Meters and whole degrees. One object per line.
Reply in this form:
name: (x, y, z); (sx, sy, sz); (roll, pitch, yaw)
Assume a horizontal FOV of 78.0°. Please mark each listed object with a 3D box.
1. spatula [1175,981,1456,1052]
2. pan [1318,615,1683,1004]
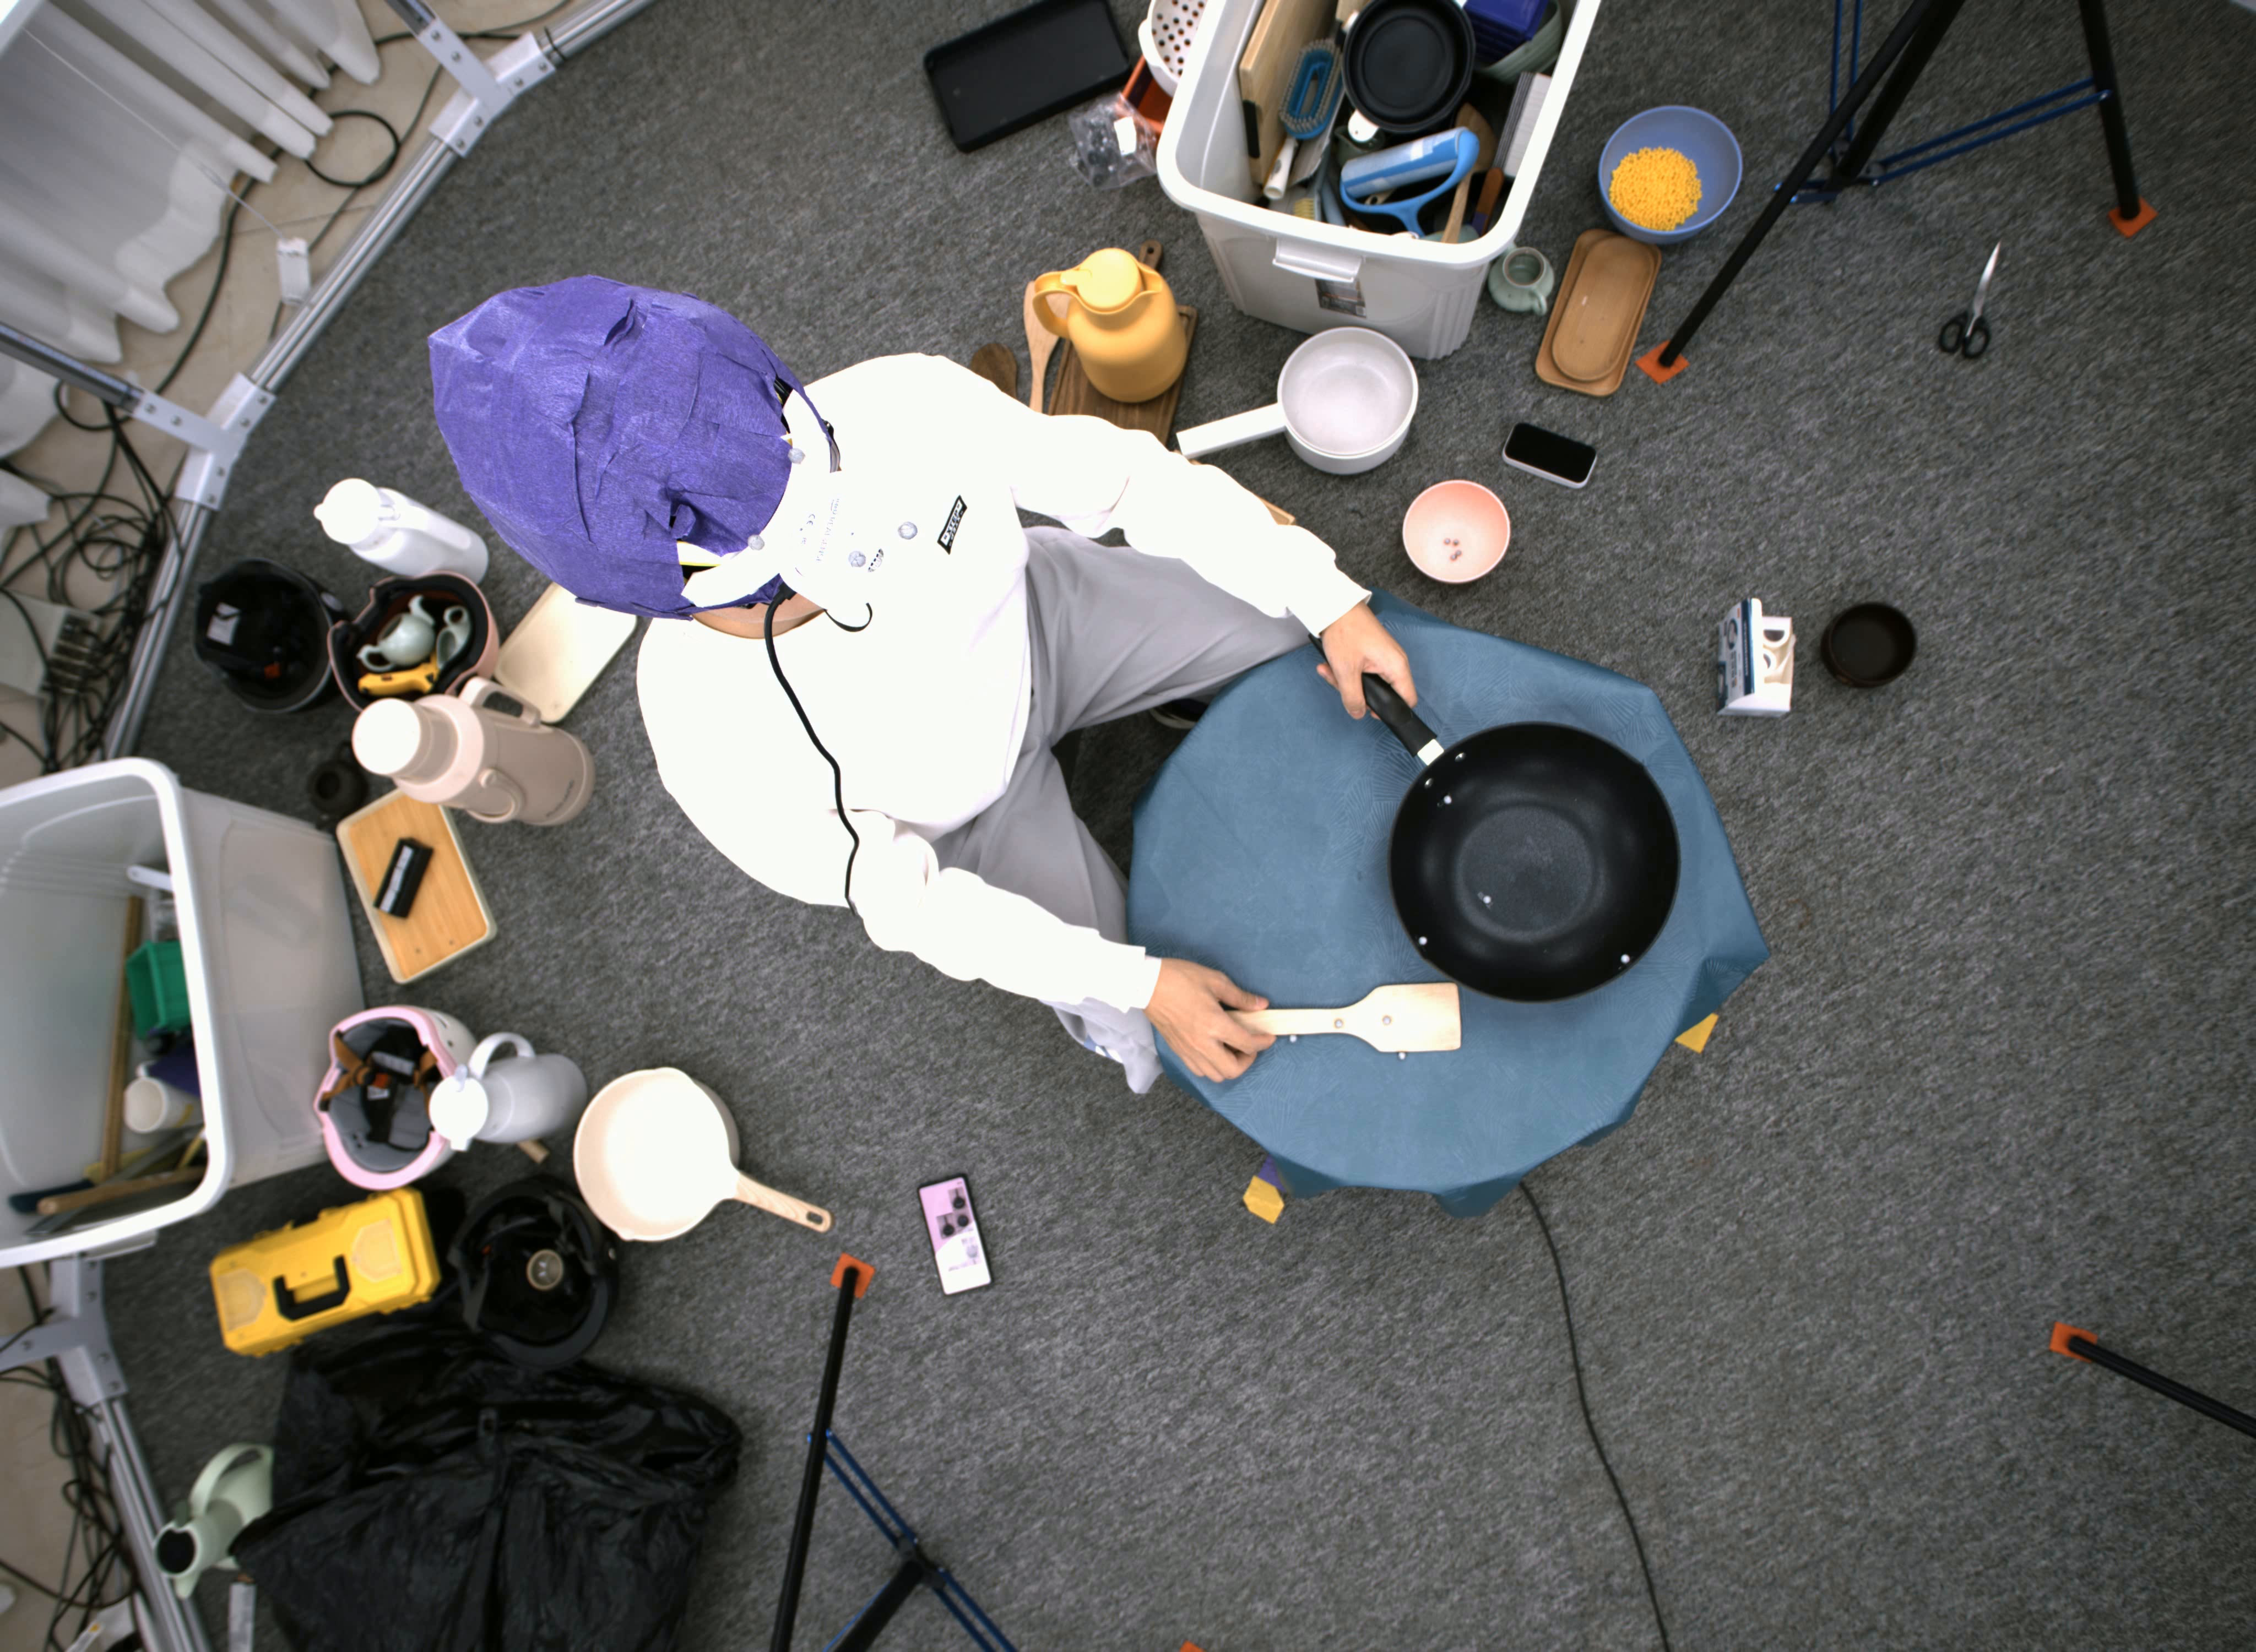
spatula: (0.195, 0.203, 1.453); (0.294, 0.010, 0.072); (-3, 89, 7)
pan: (0.347, -0.031, 1.401); (0.289, 0.087, 0.460); (-41, 76, 6)
